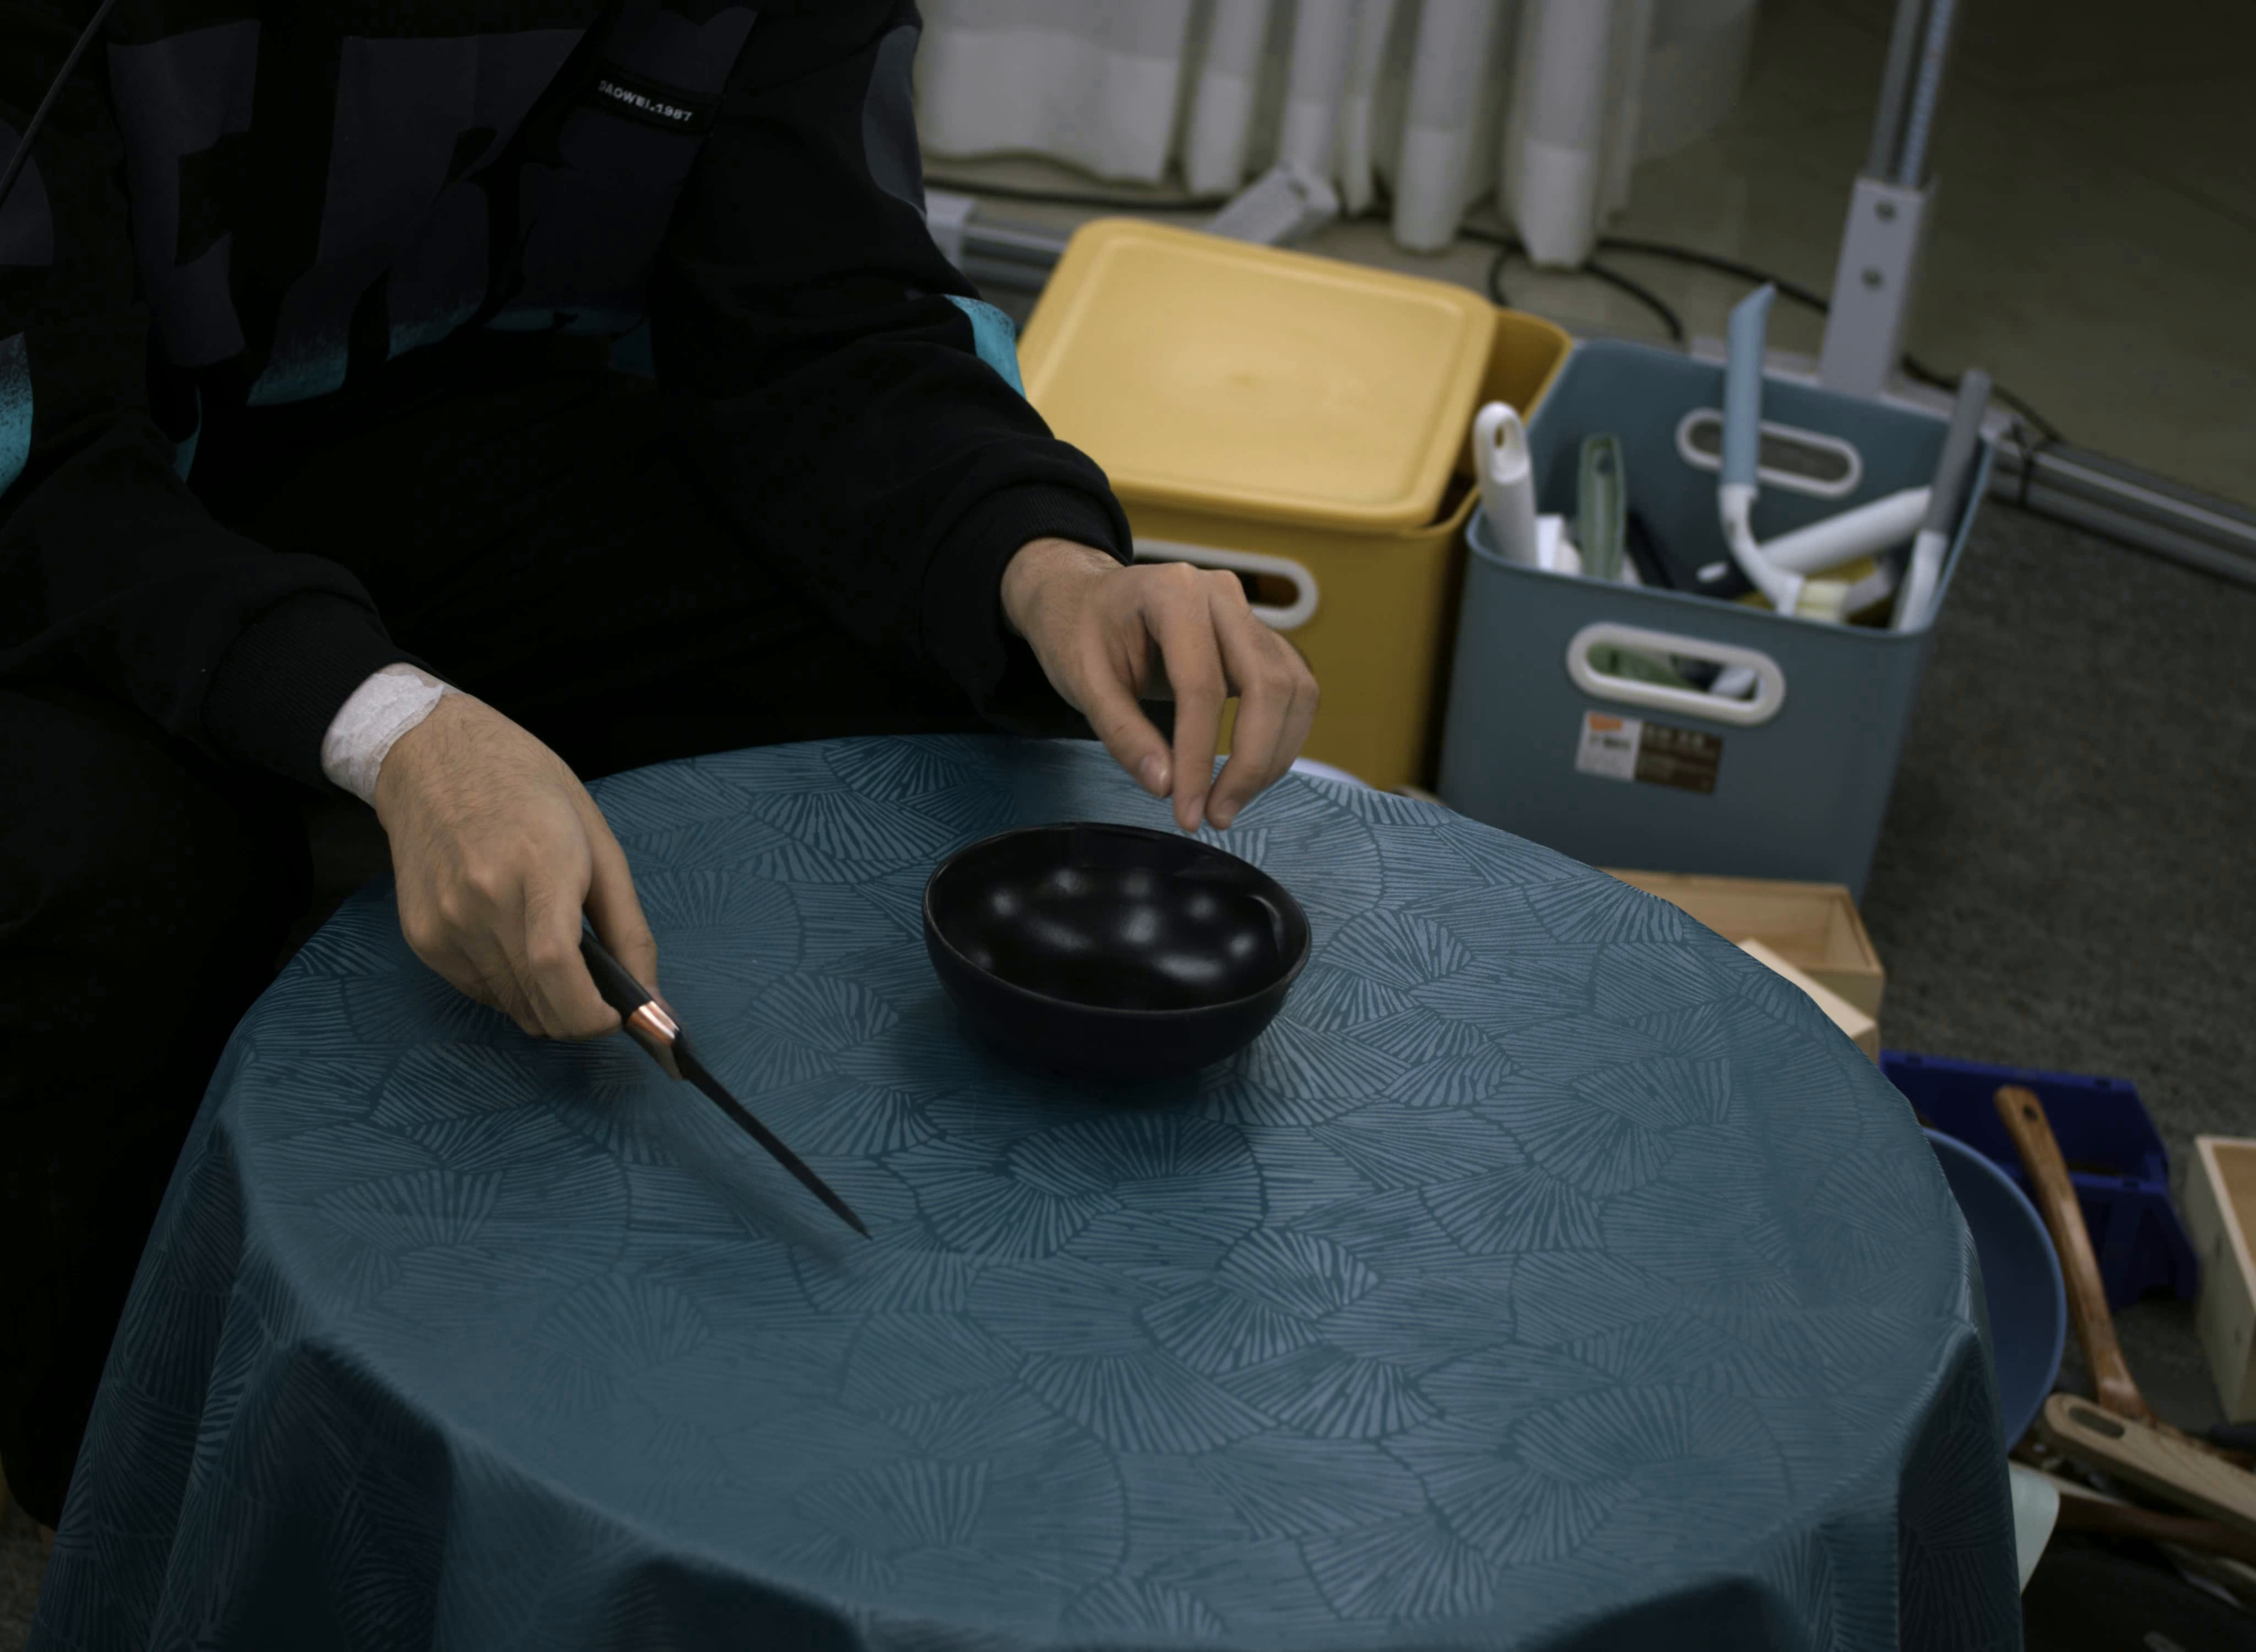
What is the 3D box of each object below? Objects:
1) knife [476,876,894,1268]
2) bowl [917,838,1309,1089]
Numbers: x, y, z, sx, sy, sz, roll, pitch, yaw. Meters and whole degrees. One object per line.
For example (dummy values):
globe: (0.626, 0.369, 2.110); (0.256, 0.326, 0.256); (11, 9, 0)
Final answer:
knife: (-0.151, 0.082, 1.801); (0.017, 0.026, 0.227); (-37, 53, -20)
bowl: (-0.006, 0.055, 1.887); (0.139, 0.049, 0.141); (2, 25, -1)
